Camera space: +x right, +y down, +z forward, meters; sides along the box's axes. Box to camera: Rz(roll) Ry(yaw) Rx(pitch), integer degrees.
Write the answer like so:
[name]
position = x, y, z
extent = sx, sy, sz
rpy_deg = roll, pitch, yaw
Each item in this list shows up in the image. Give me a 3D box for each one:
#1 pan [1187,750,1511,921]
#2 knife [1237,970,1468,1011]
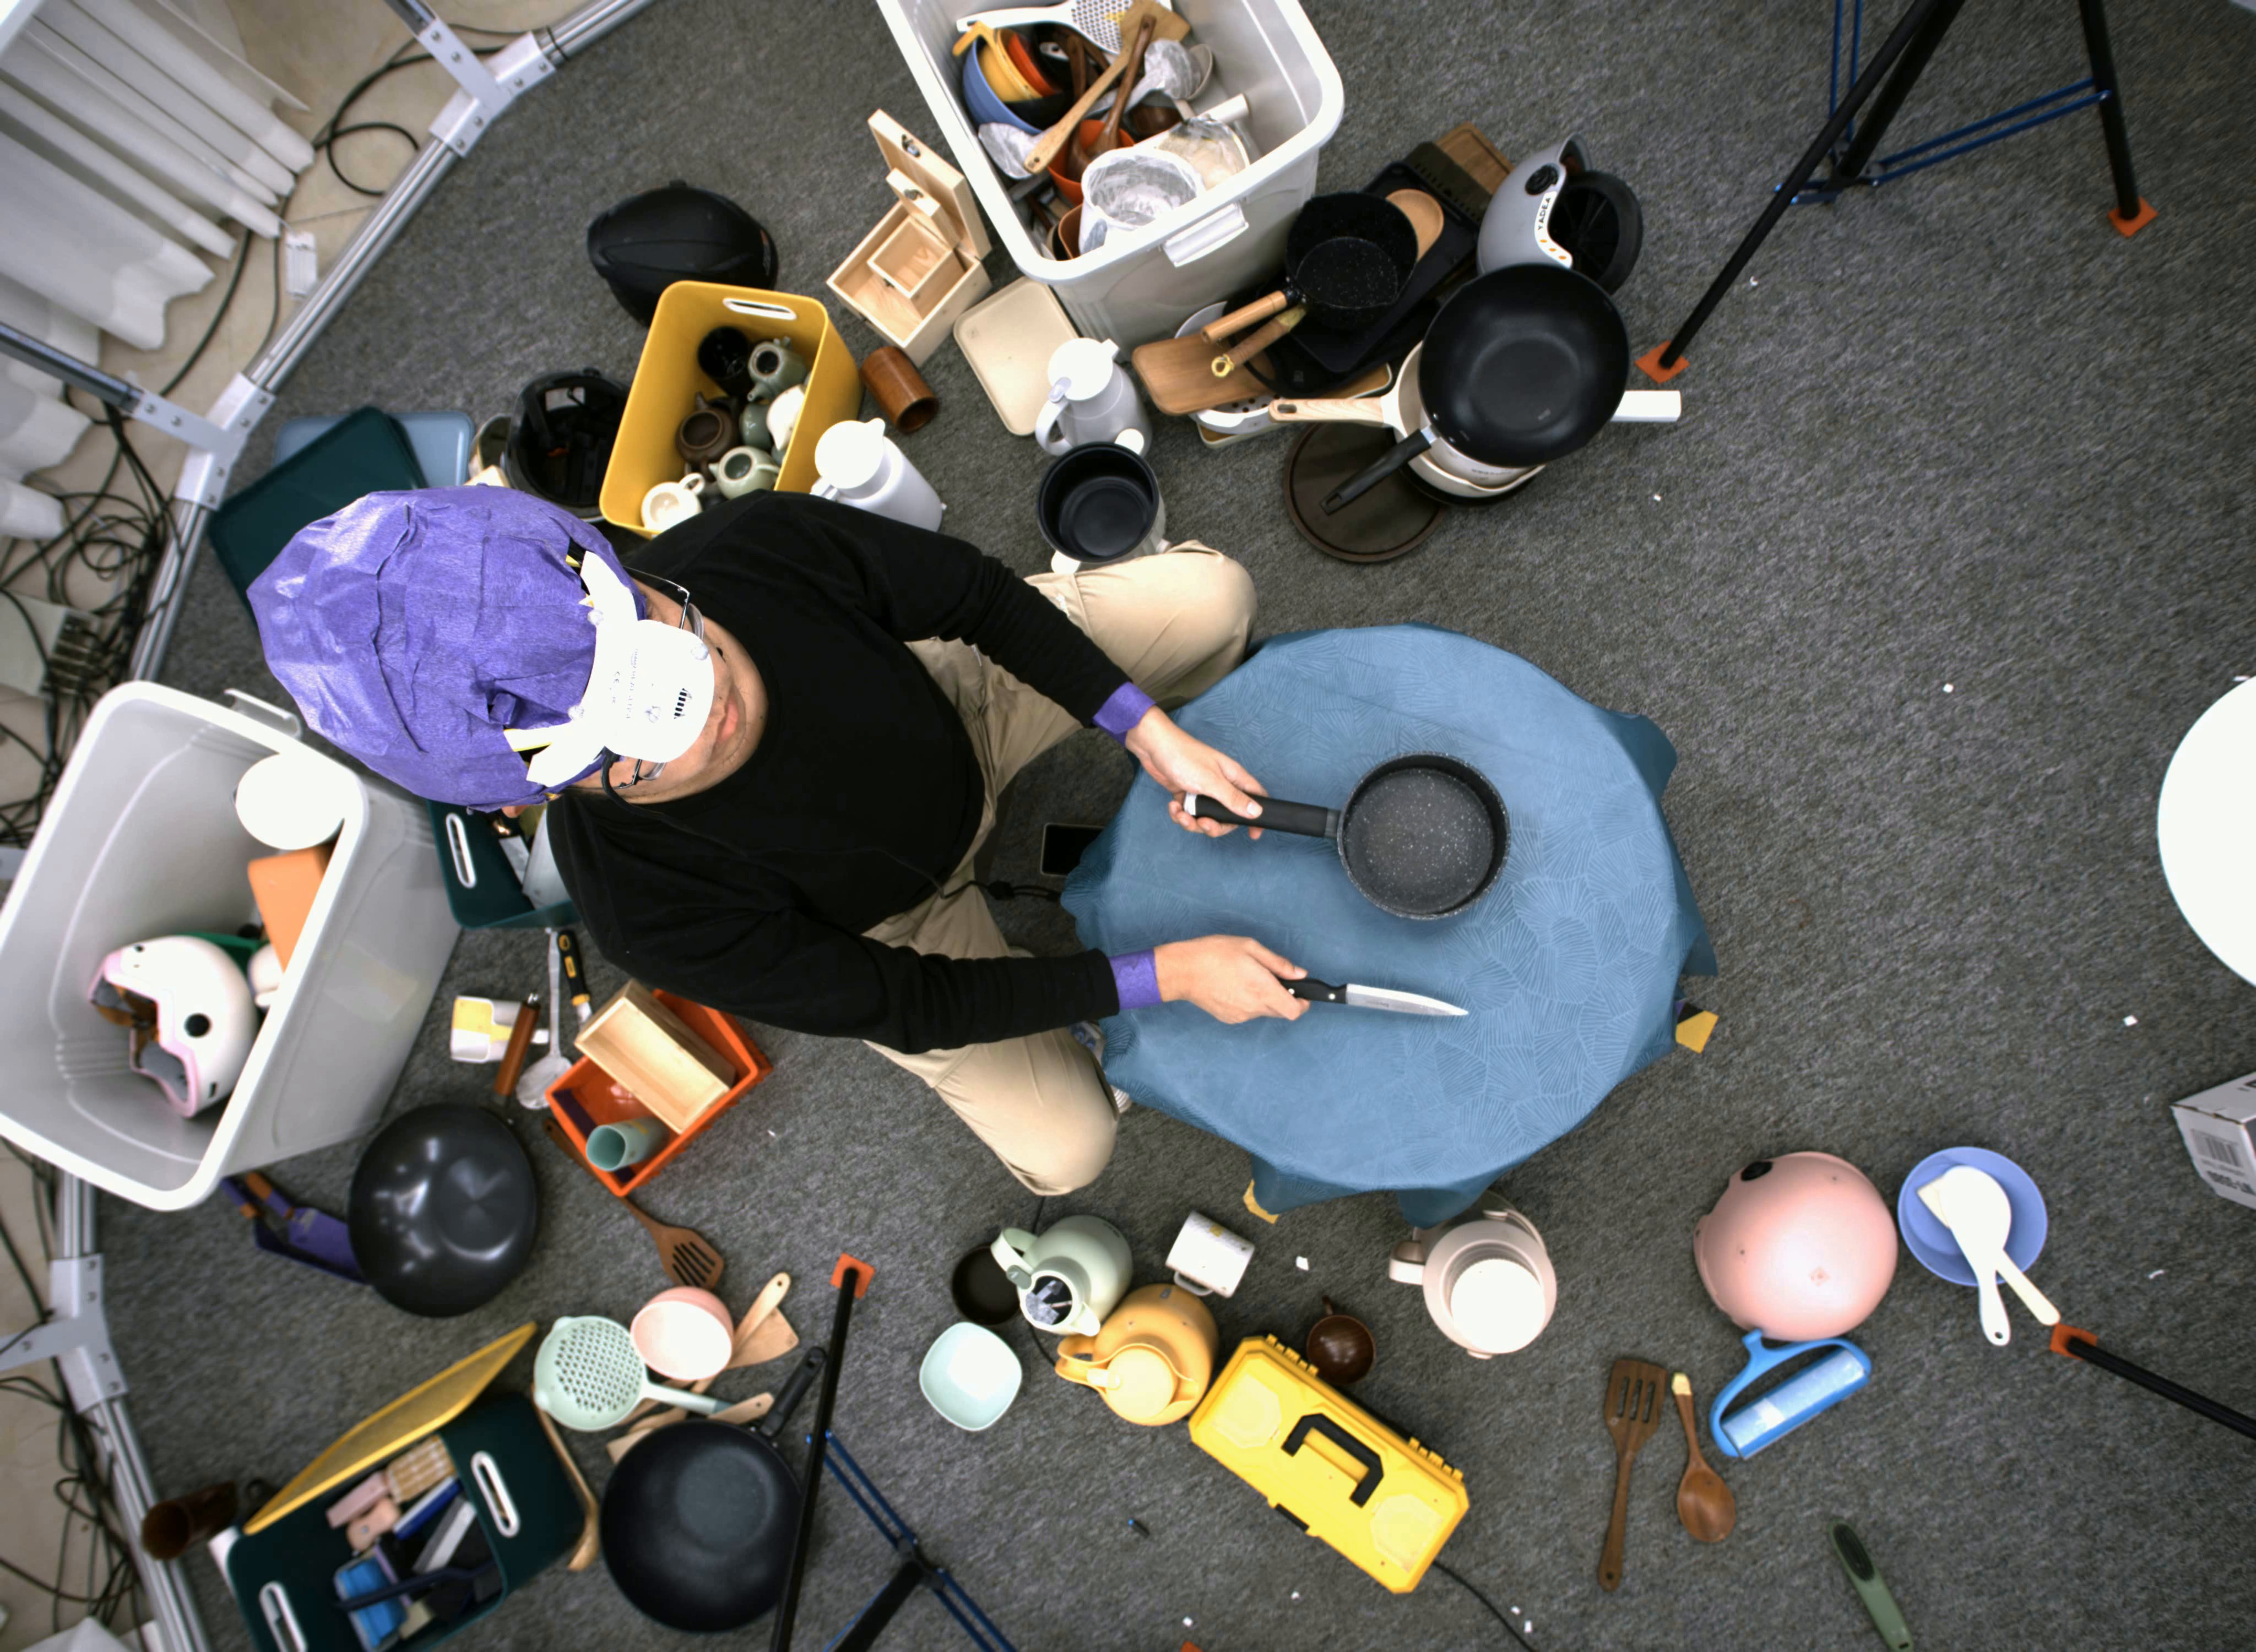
[pan]
position = 0.224, -0.004, 1.425
extent = 0.329, 0.086, 0.171
rpy_deg = 12, 88, 8
[knife]
position = 0.230, 0.171, 1.422
extent = 0.239, 0.016, 0.025
rpy_deg = 7, 104, 7
